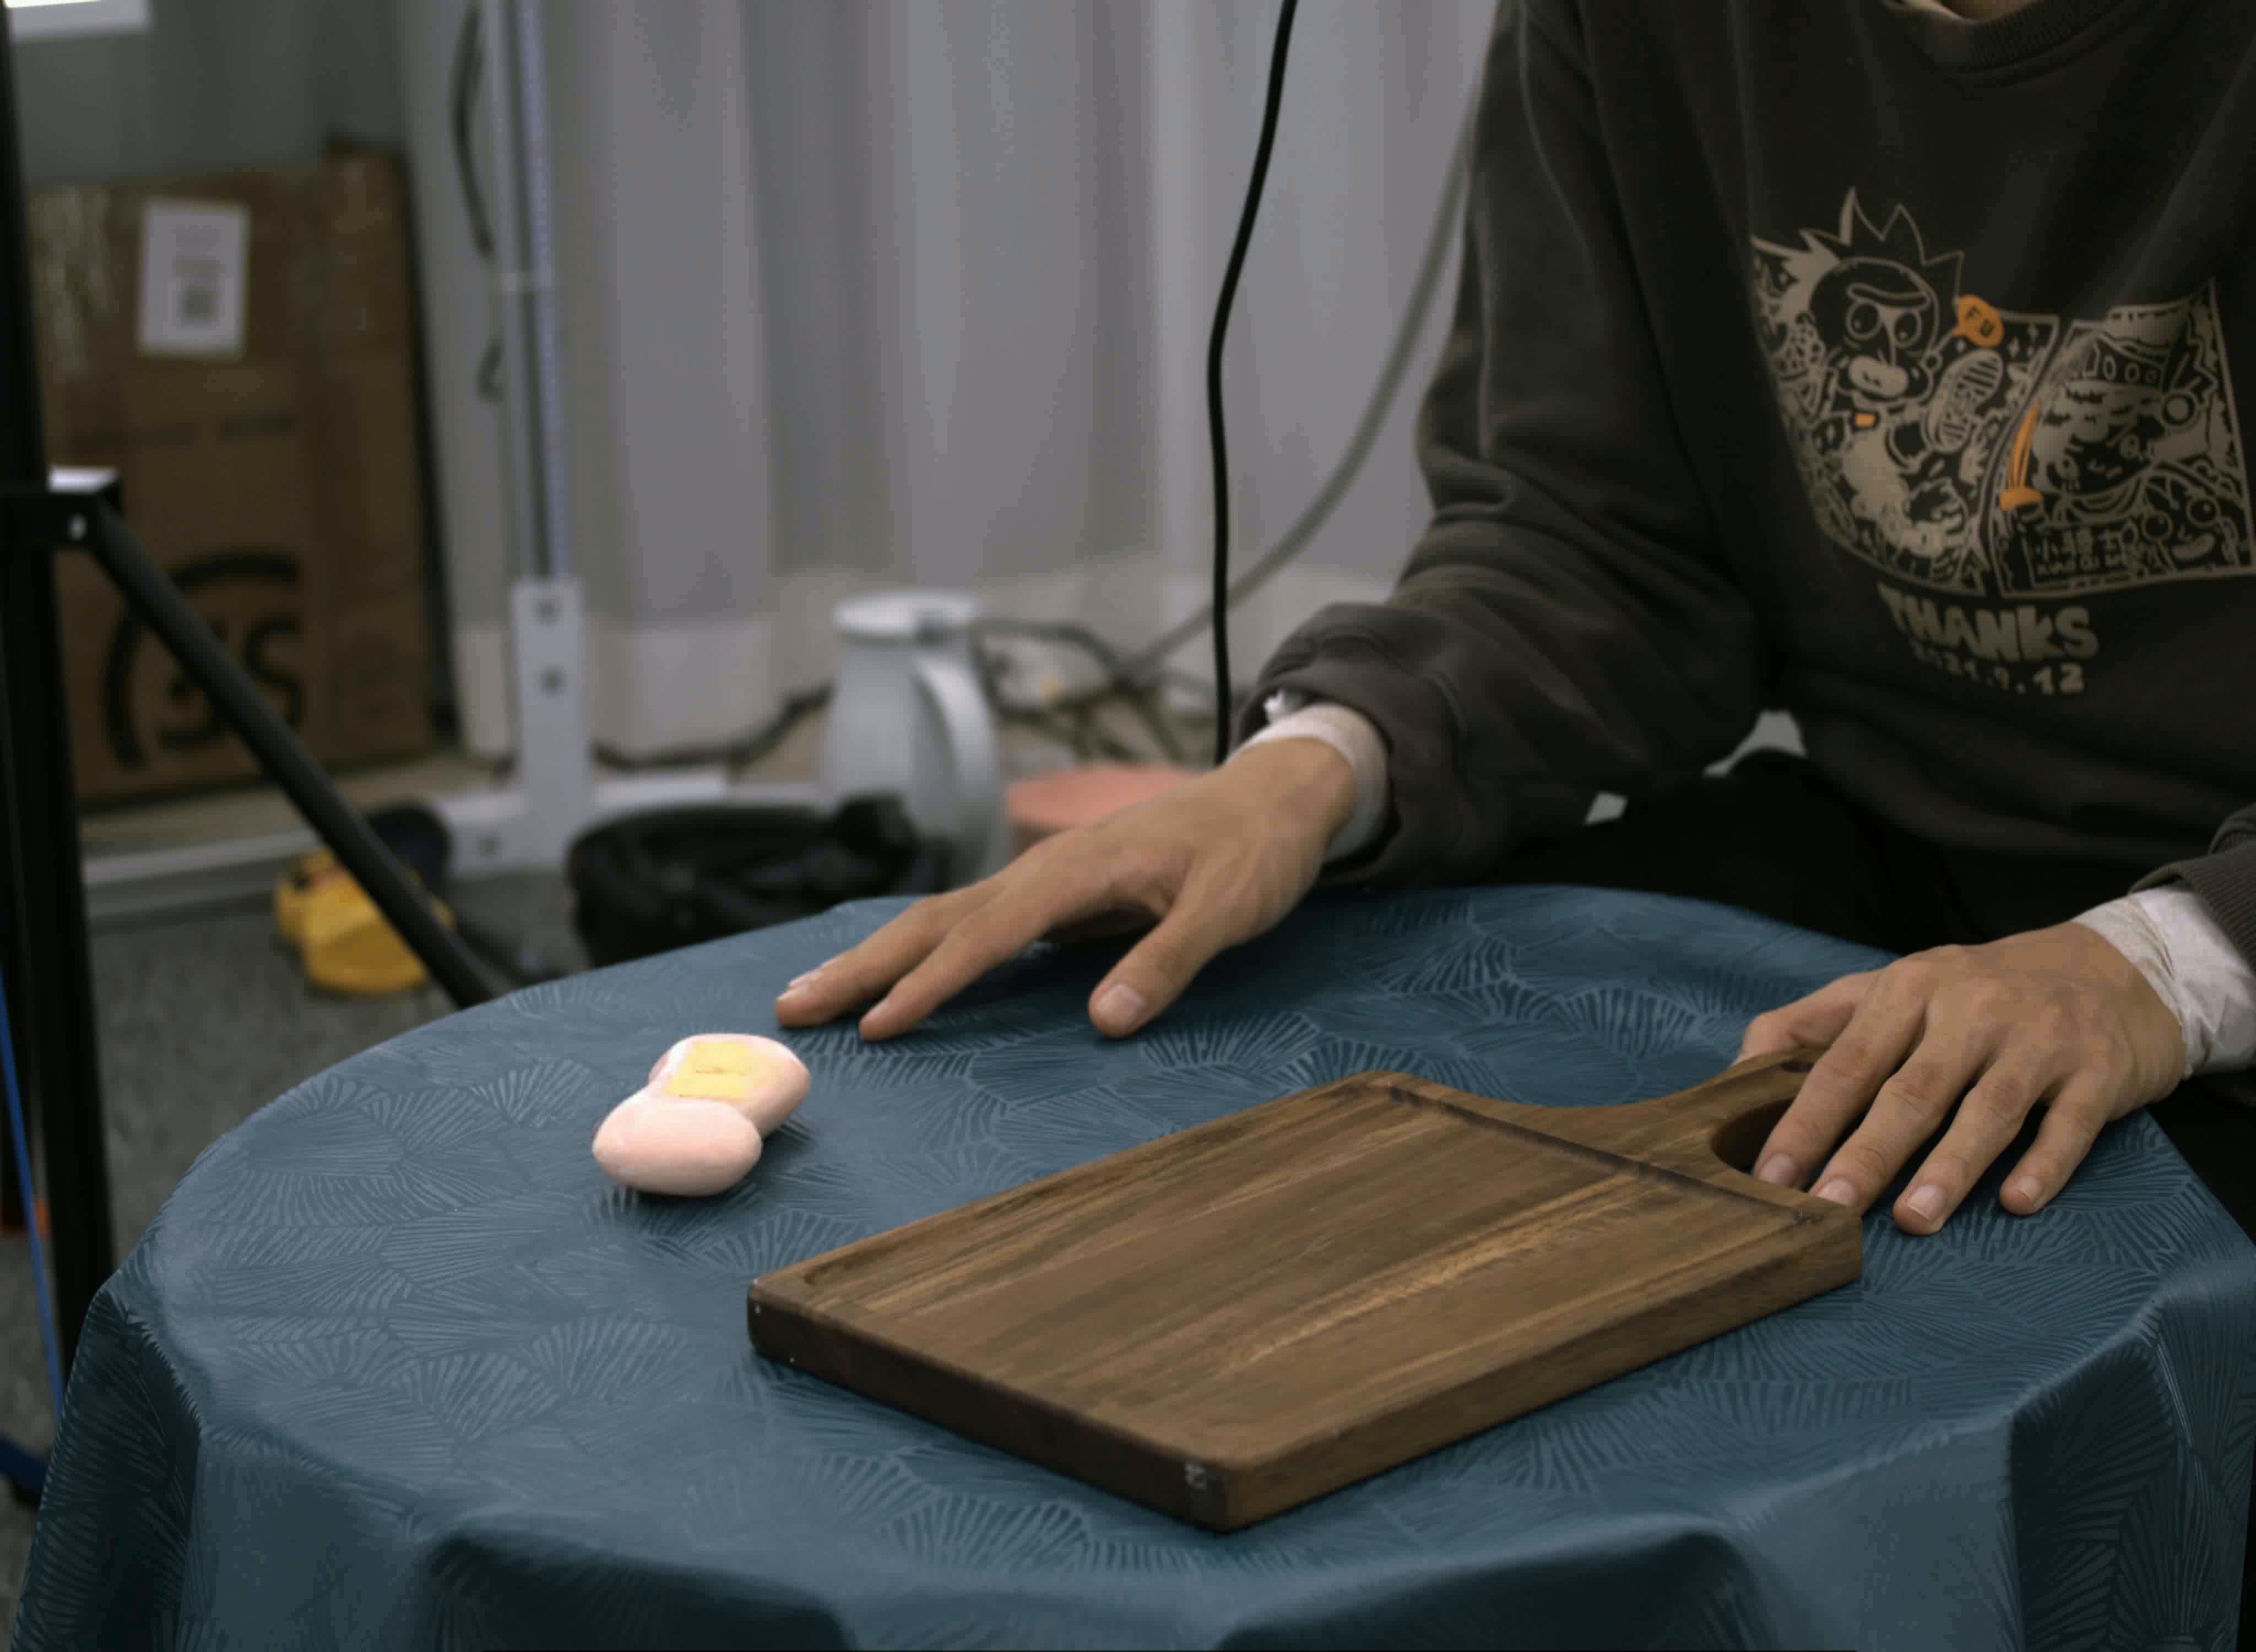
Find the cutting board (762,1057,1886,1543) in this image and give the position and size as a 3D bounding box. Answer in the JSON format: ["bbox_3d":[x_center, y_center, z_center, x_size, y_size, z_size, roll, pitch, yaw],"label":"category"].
[{"bbox_3d":[0.092,0.117,1.477,0.344,0.023,0.206,-15,20,-38],"label":"cutting board"}]

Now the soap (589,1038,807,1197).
[{"bbox_3d":[-0.129,0.087,1.606,0.050,0.030,0.094,2,14,12],"label":"soap"}]
